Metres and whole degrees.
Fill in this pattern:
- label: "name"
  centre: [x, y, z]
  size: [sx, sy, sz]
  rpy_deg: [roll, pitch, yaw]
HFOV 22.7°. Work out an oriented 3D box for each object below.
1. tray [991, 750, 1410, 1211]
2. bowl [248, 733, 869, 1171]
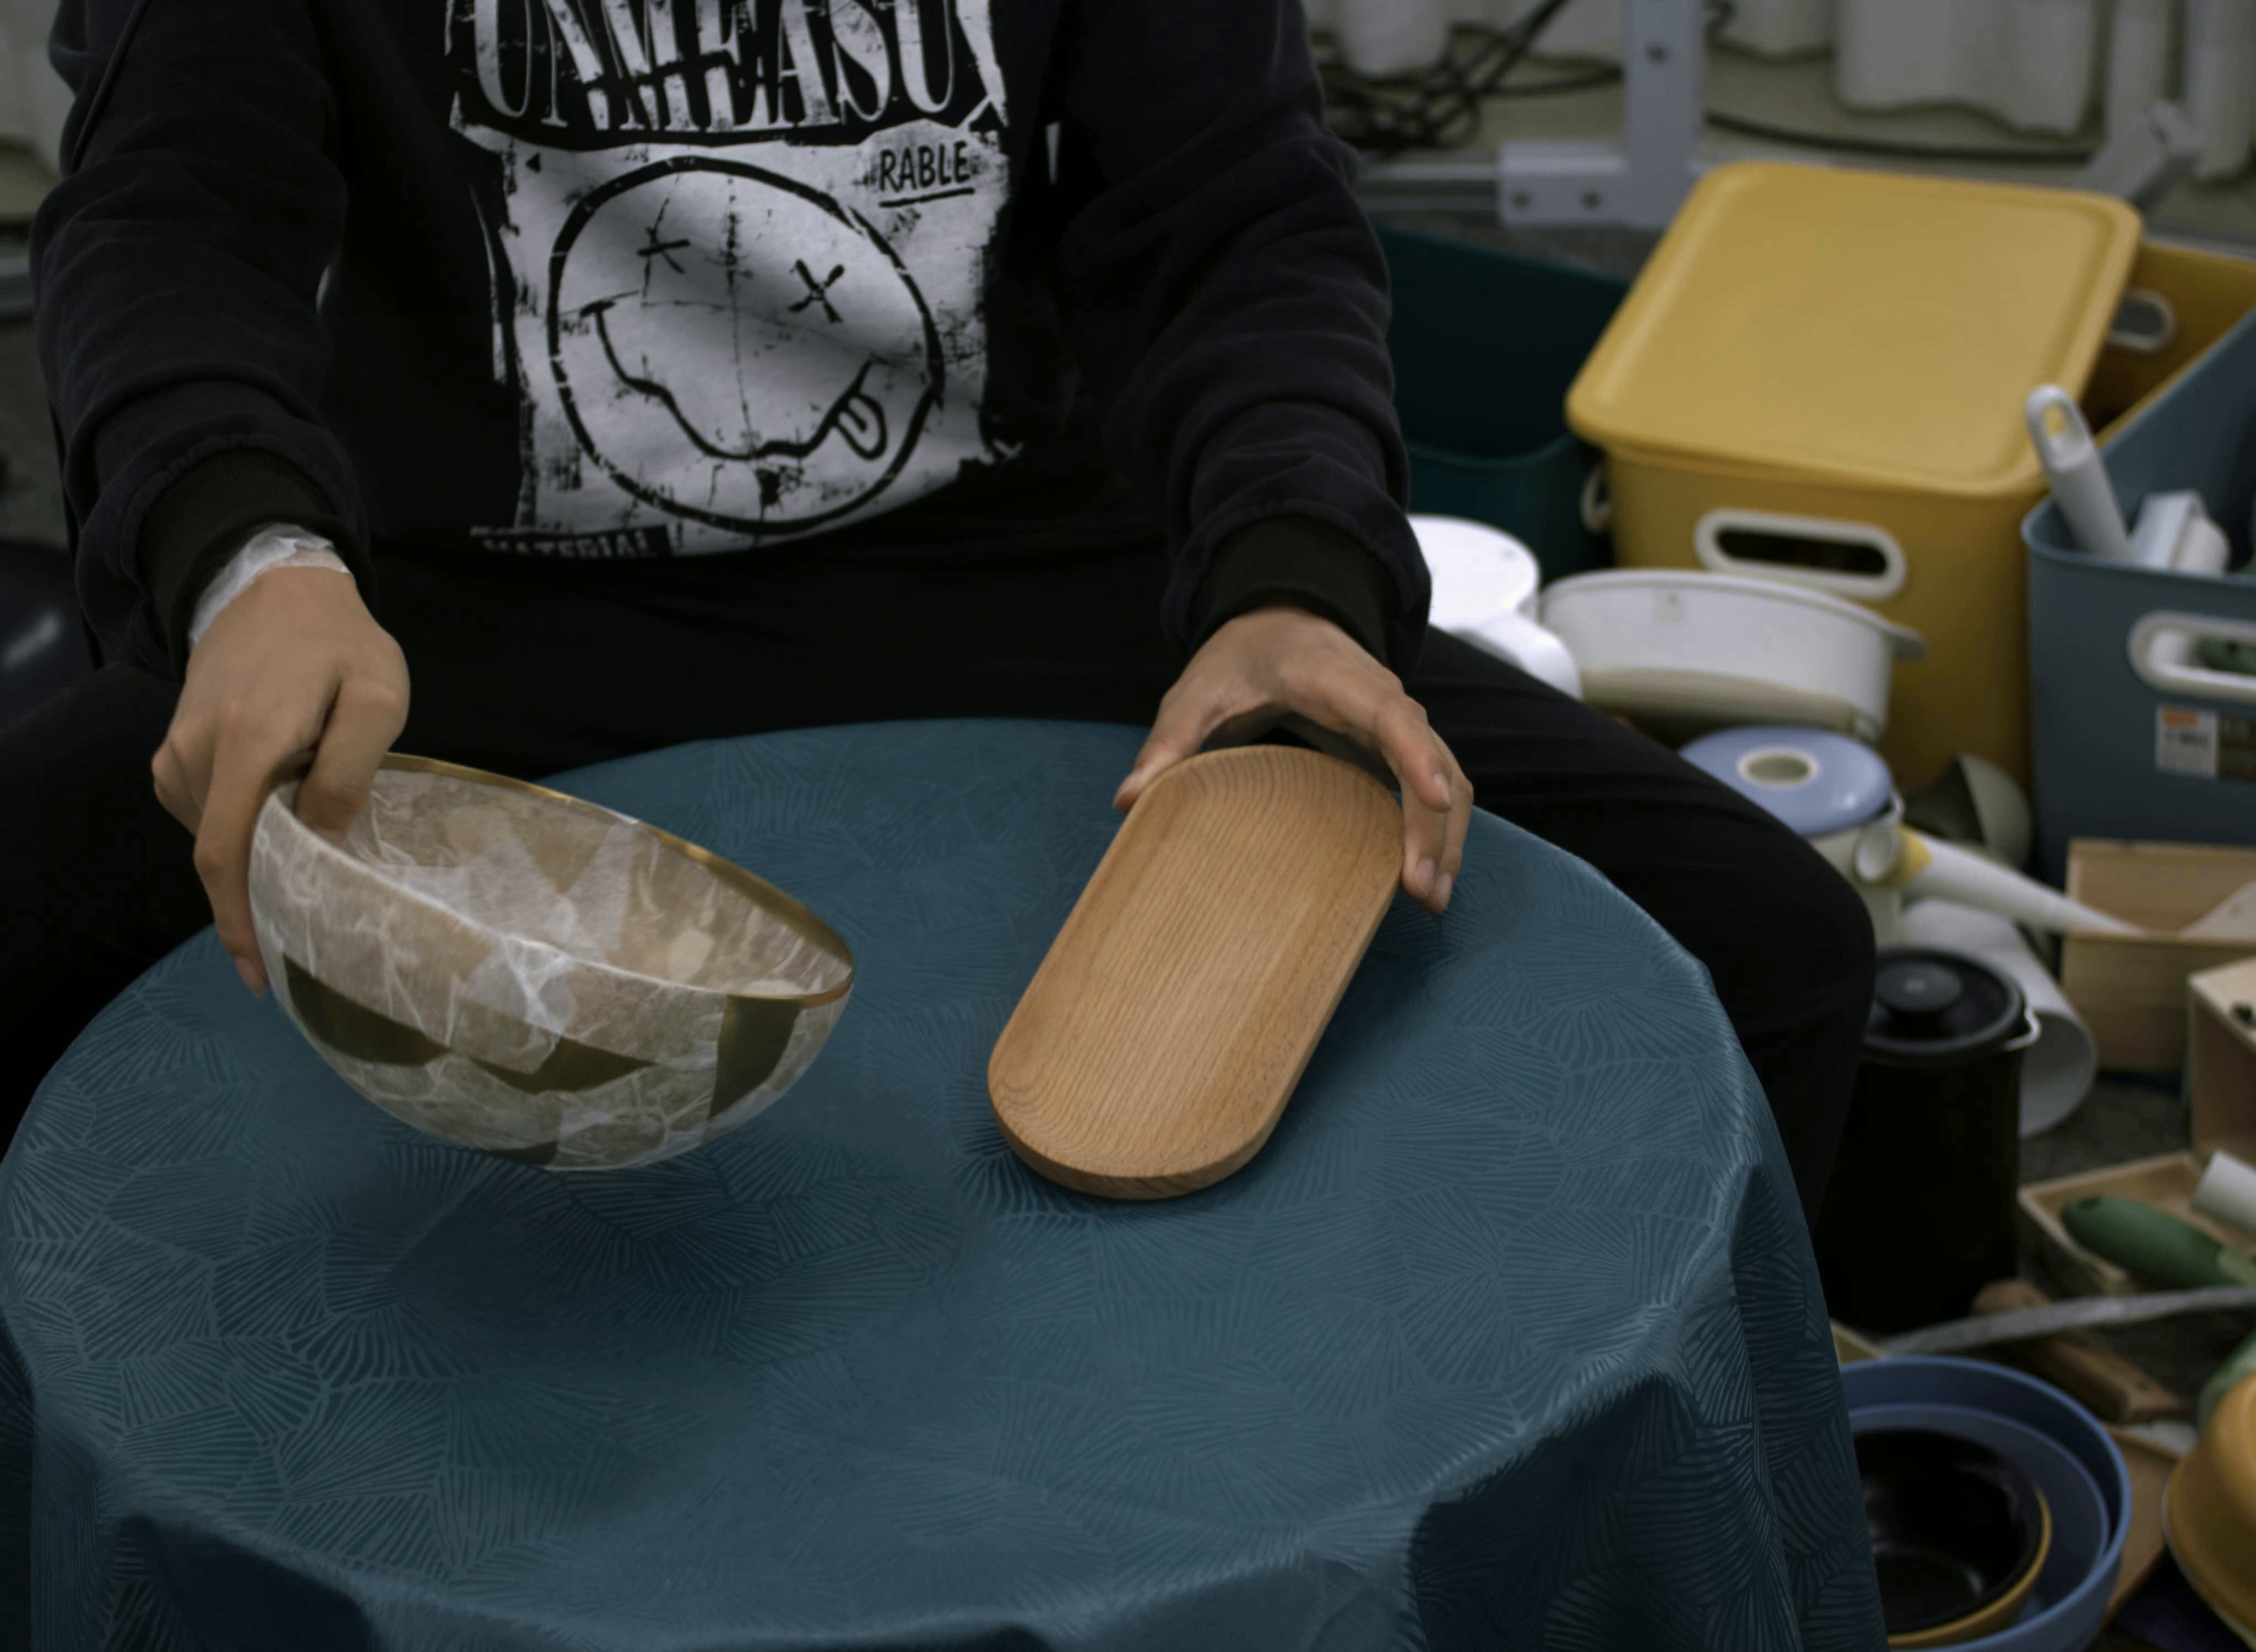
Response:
- label: "tray"
  centre: [0.027, 0.051, 1.933]
  size: [0.101, 0.020, 0.236]
  rpy_deg: [11, 42, 16]
- label: "bowl"
  centre: [-0.193, 0.054, 1.811]
  size: [0.214, 0.094, 0.216]
  rpy_deg: [20, 9, -3]
